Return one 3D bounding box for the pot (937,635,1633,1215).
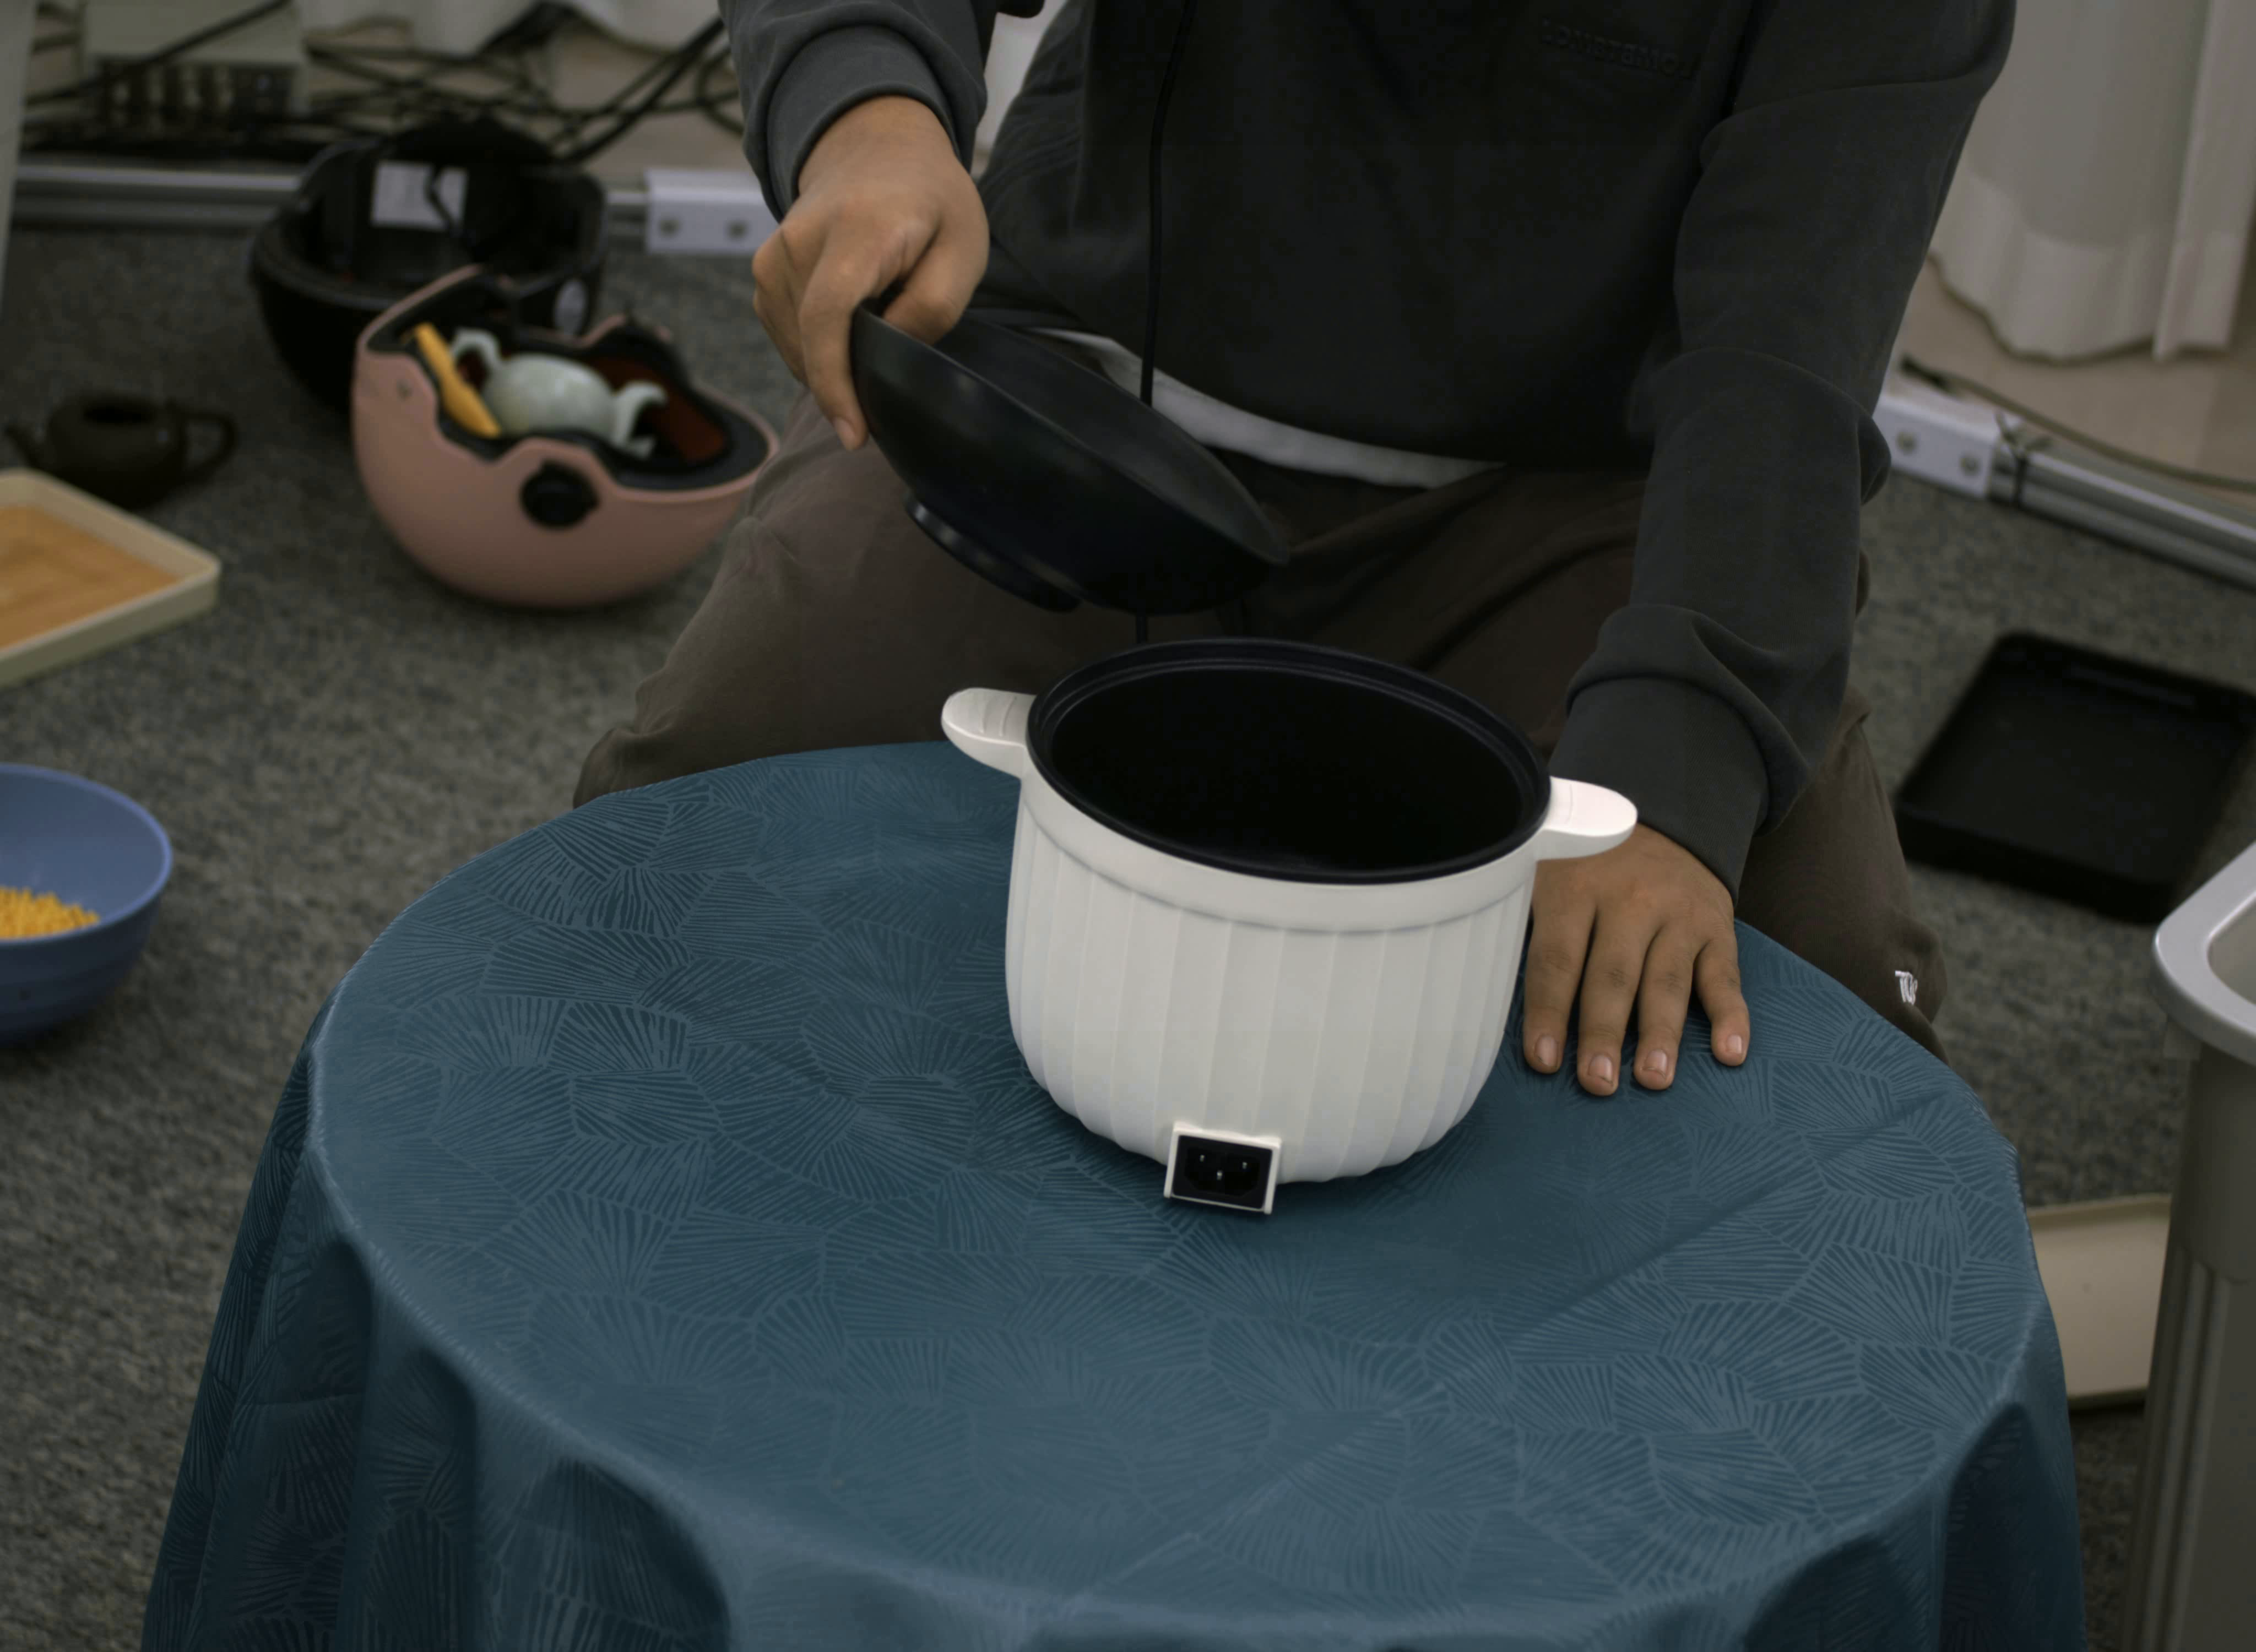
[{"bbox_3d":[0.046,0.031,1.848,0.240,0.142,0.191,9,30,2],"label":"pot"}]

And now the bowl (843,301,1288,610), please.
[{"bbox_3d":[-0.031,-0.117,1.804,0.170,0.066,0.137,32,13,-1],"label":"bowl"}]
